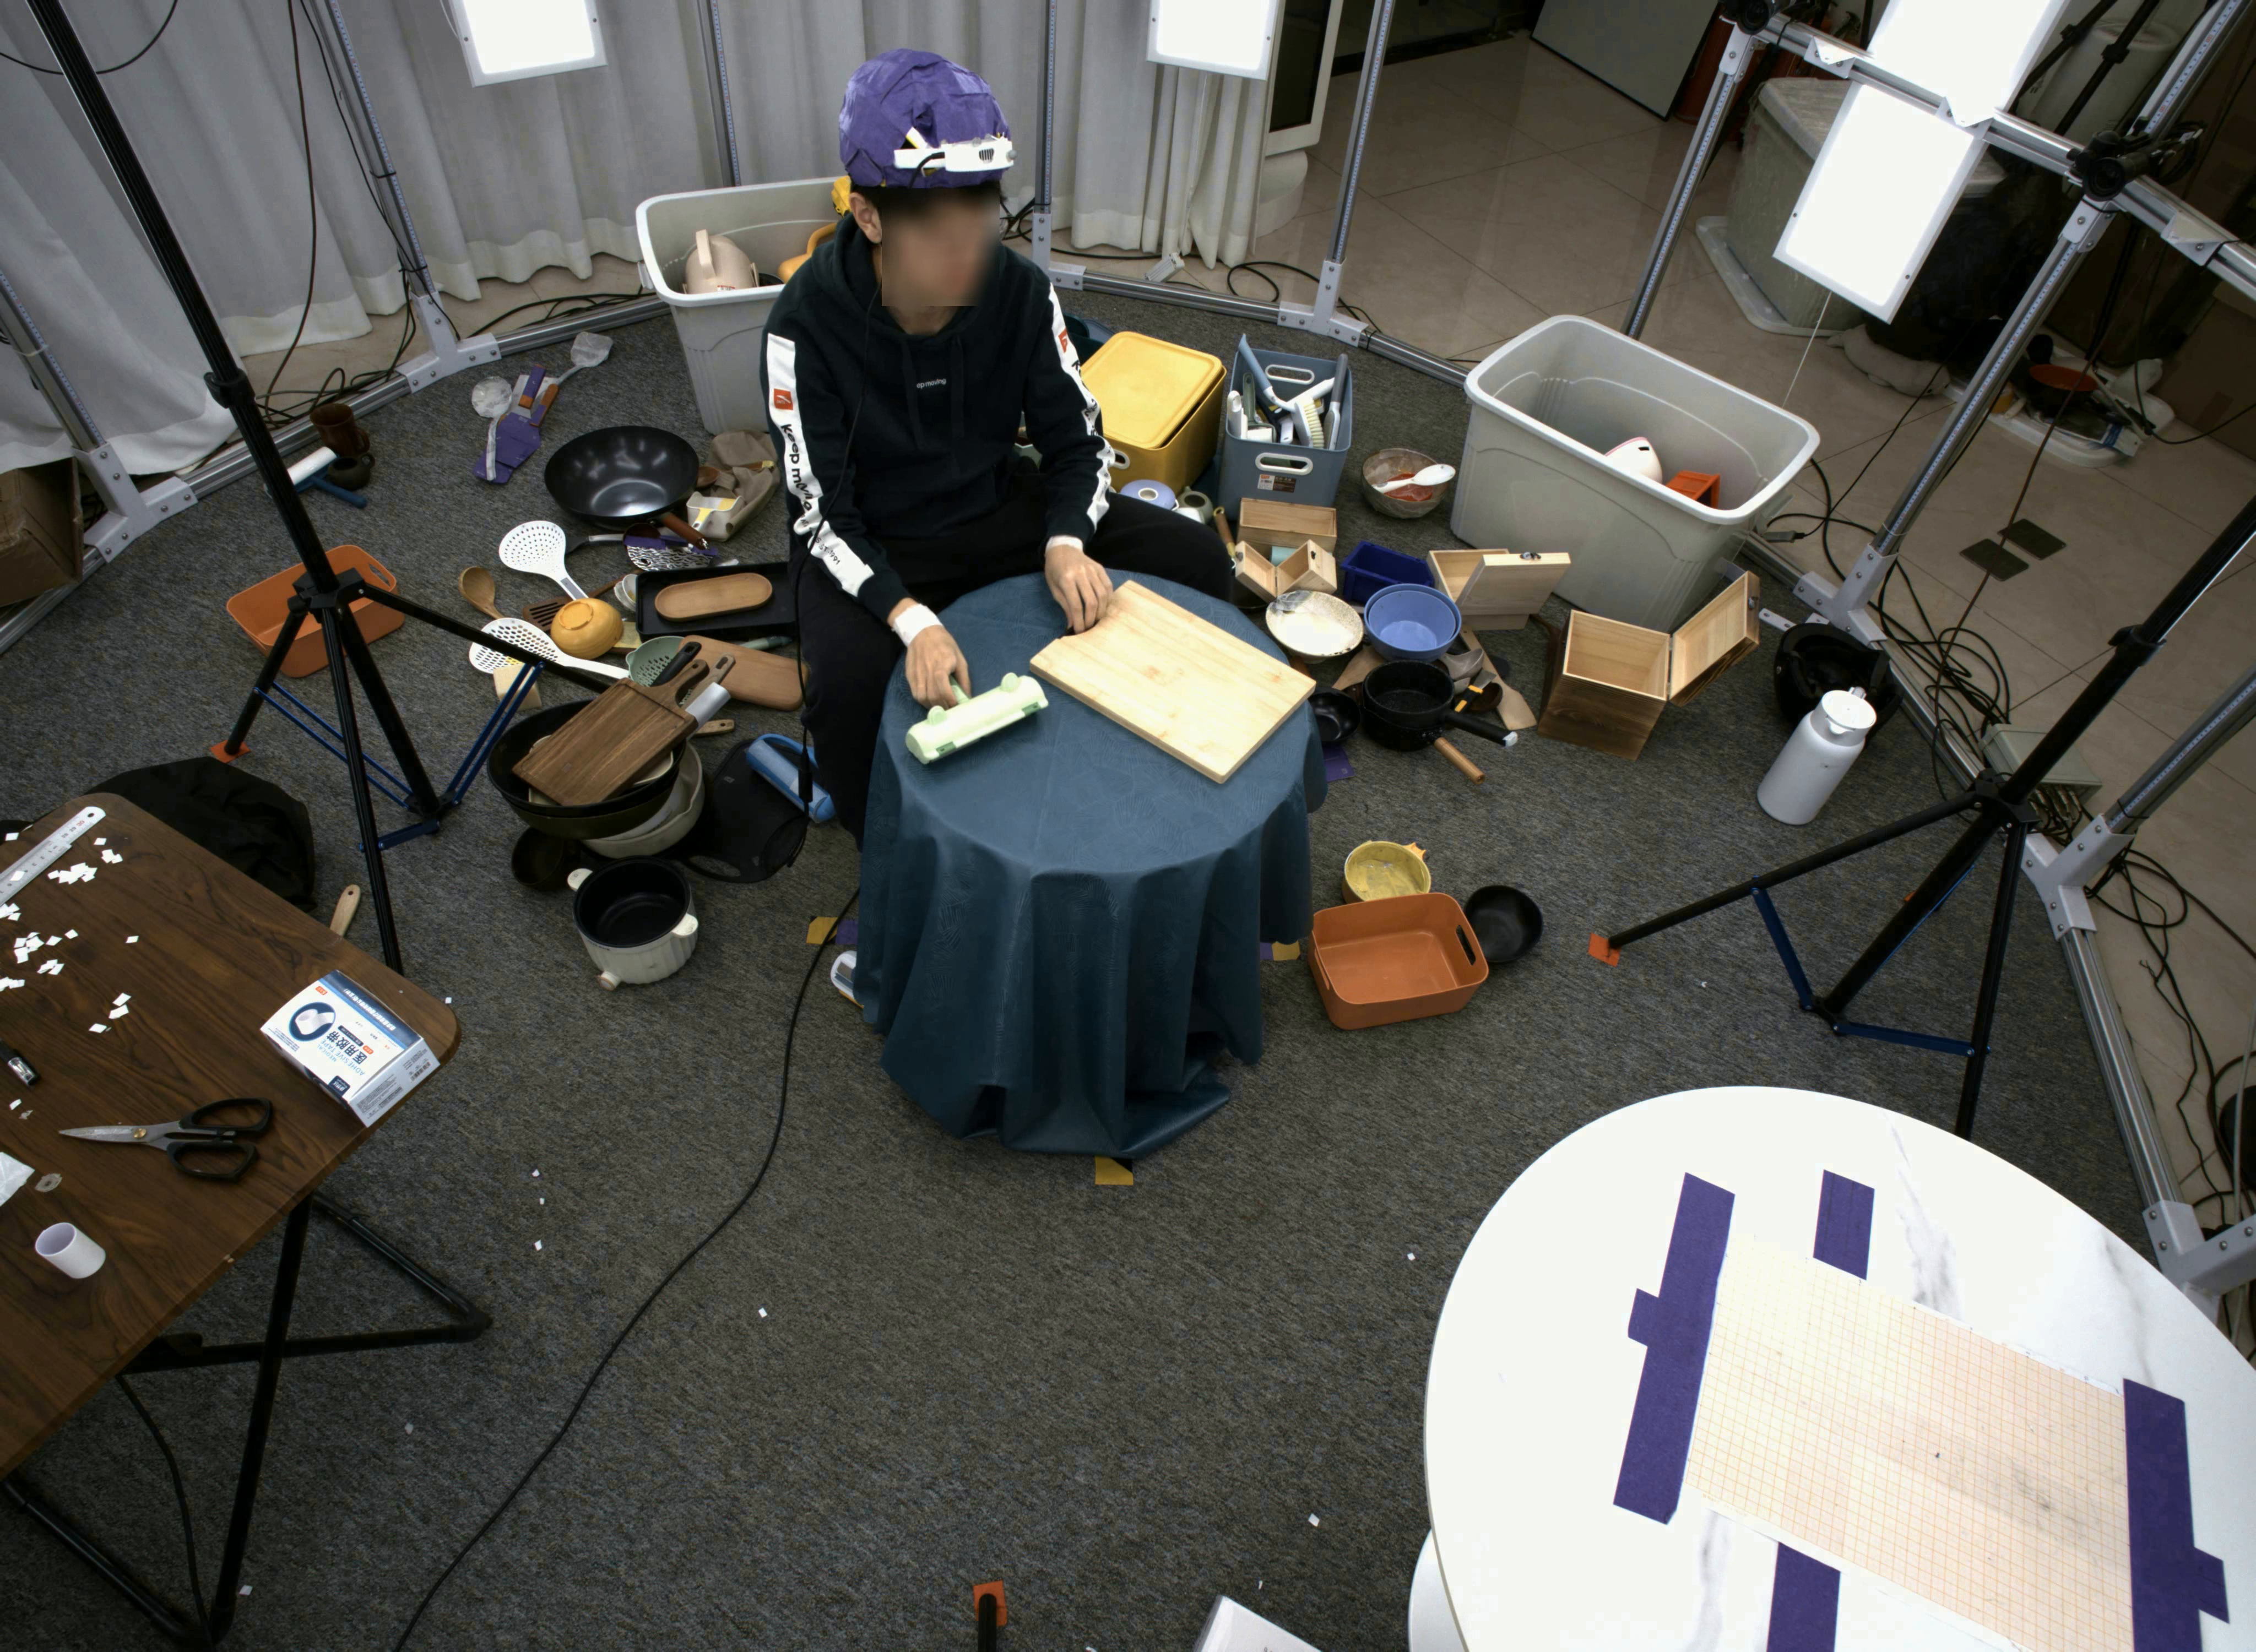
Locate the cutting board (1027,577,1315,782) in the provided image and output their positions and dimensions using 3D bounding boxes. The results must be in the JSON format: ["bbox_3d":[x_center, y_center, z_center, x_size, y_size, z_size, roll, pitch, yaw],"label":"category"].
[{"bbox_3d":[0.061,-0.219,1.852,0.352,0.023,0.254,31,54,21],"label":"cutting board"}]

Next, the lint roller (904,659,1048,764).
[{"bbox_3d":[-0.237,-0.187,1.764,0.199,0.080,0.186,-27,60,-24],"label":"lint roller"}]
